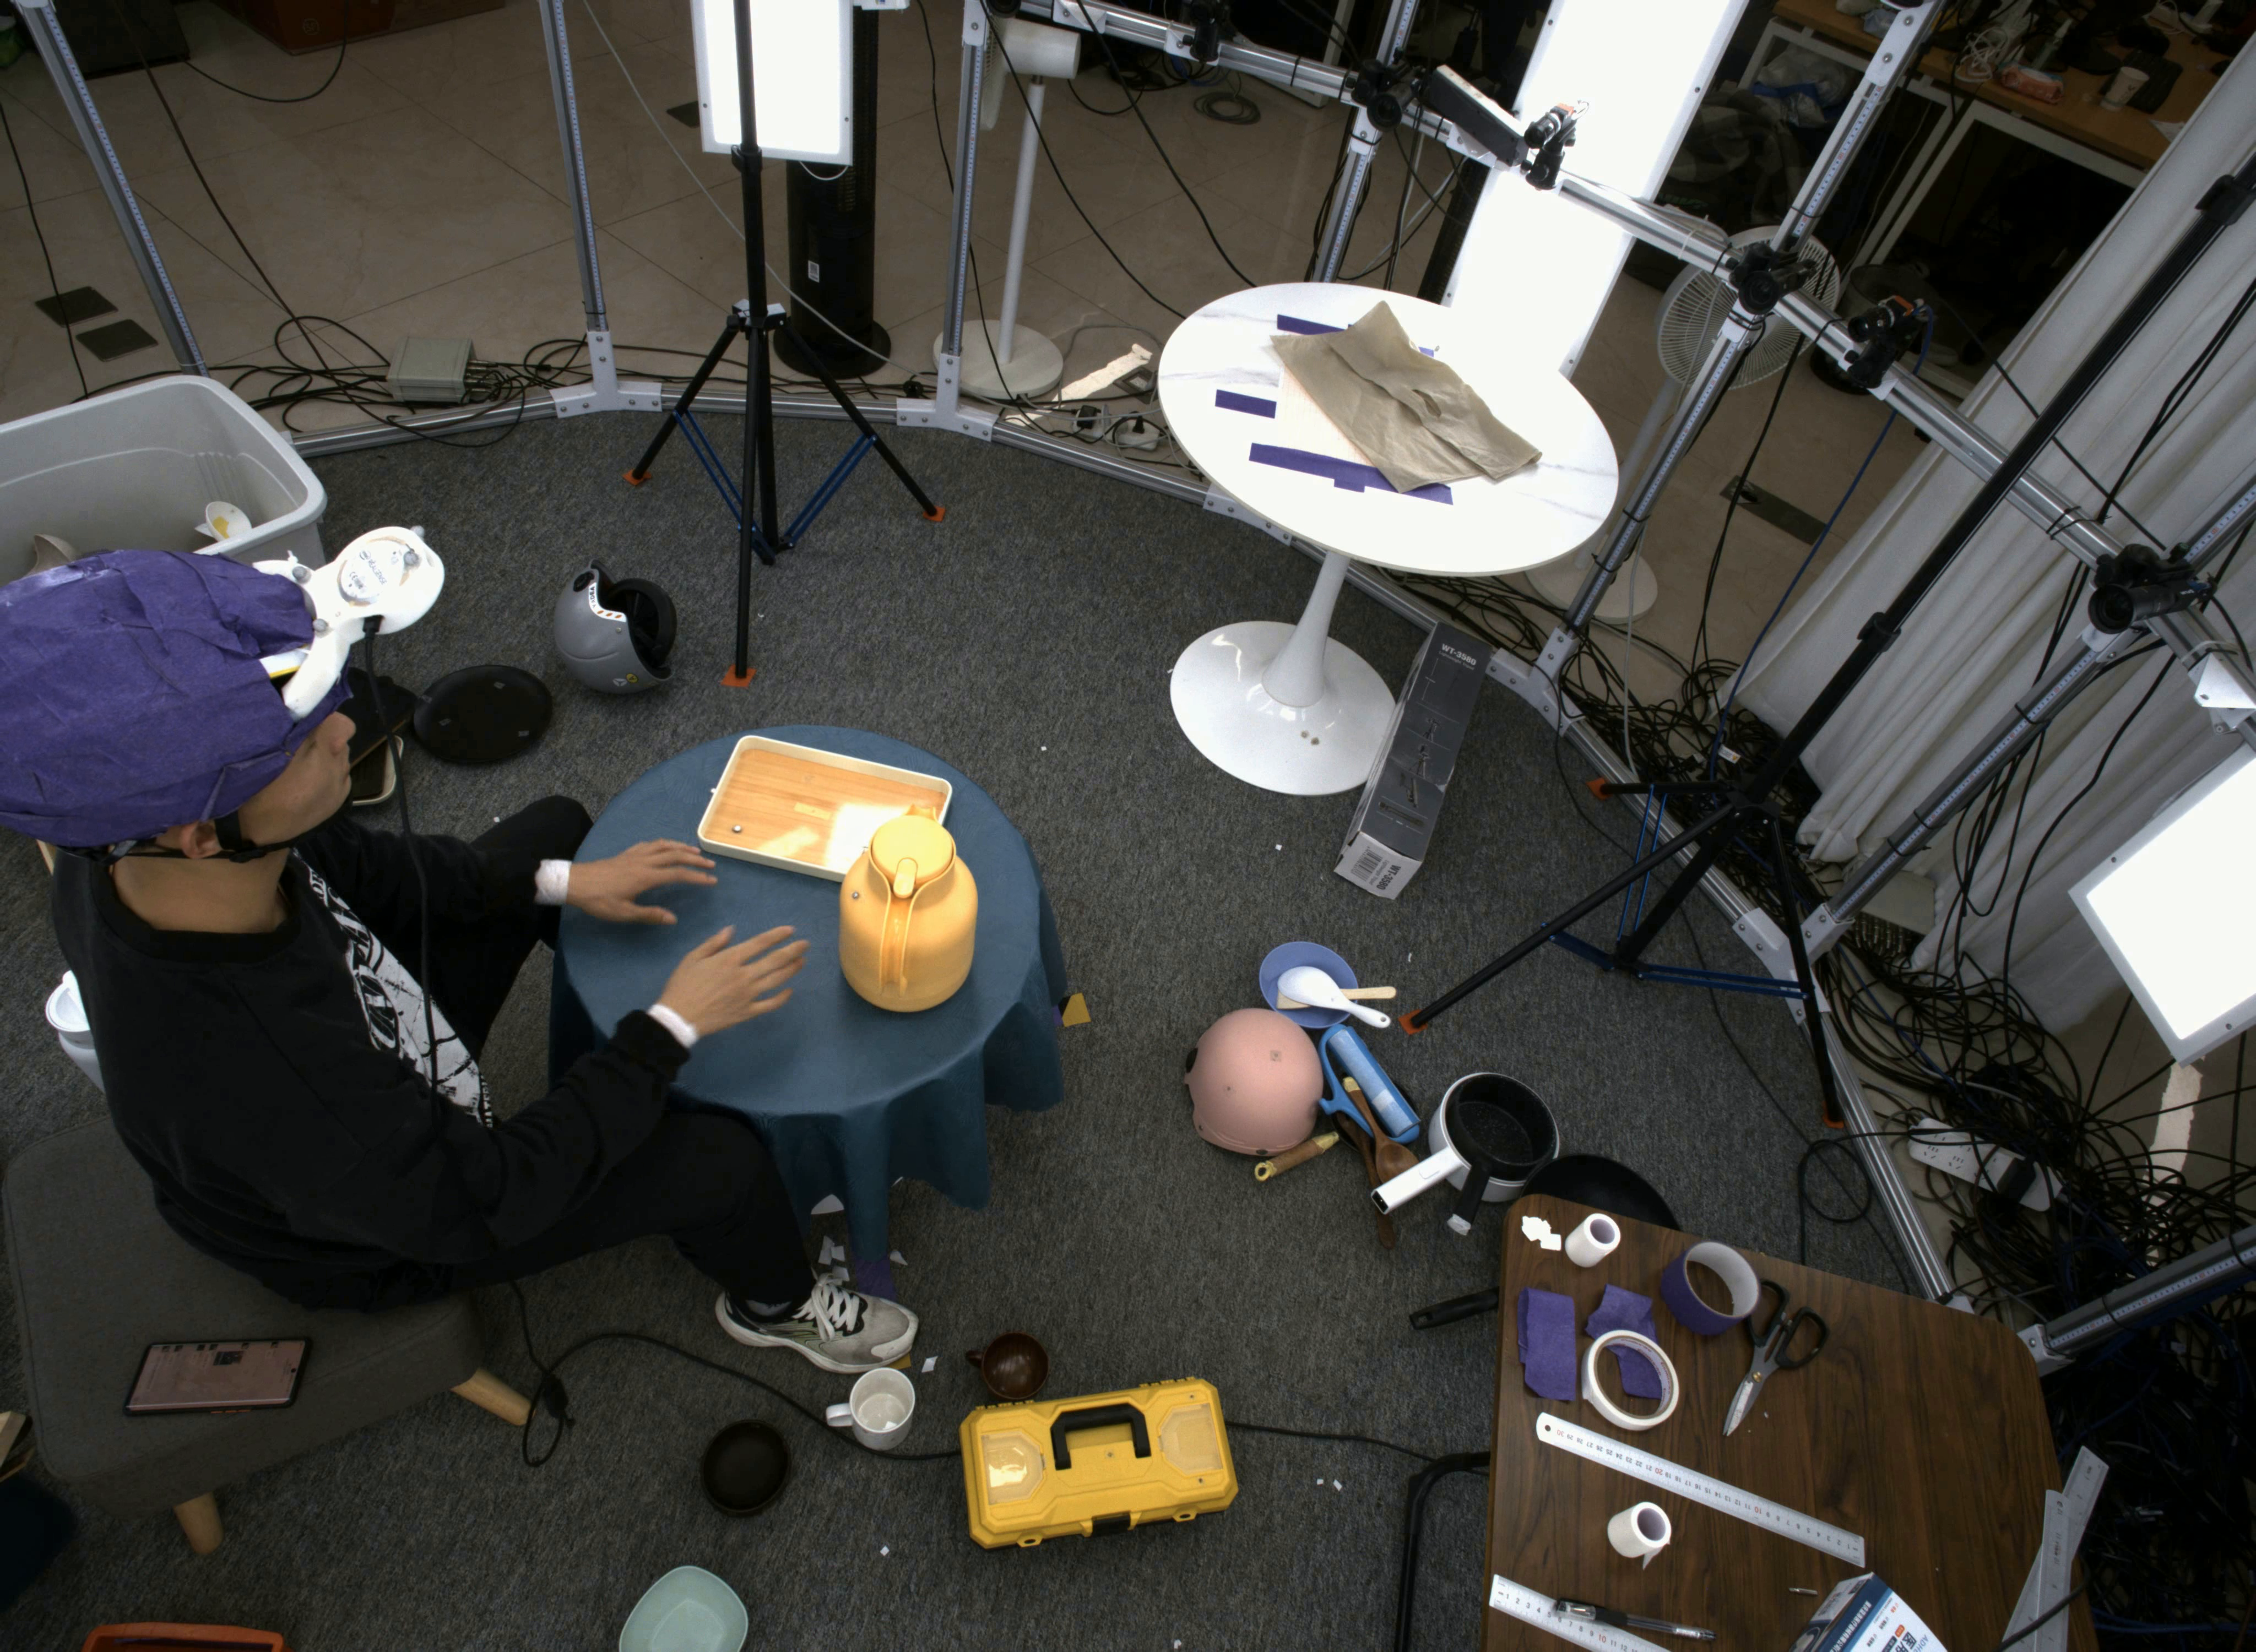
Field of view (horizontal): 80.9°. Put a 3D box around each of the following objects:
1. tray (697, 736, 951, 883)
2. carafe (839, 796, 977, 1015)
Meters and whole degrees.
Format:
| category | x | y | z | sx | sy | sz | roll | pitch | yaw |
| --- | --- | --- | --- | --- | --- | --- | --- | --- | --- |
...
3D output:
| category | x | y | z | sx | sy | sz | roll | pitch | yaw |
| --- | --- | --- | --- | --- | --- | --- | --- | --- | --- |
| tray | -0.399 | -0.015 | 1.722 | 0.298 | 0.028 | 0.189 | 13 | 51 | -4 |
| carafe | -0.261 | 0.107 | 1.513 | 0.162 | 0.267 | 0.199 | 9 | 49 | -1 |
